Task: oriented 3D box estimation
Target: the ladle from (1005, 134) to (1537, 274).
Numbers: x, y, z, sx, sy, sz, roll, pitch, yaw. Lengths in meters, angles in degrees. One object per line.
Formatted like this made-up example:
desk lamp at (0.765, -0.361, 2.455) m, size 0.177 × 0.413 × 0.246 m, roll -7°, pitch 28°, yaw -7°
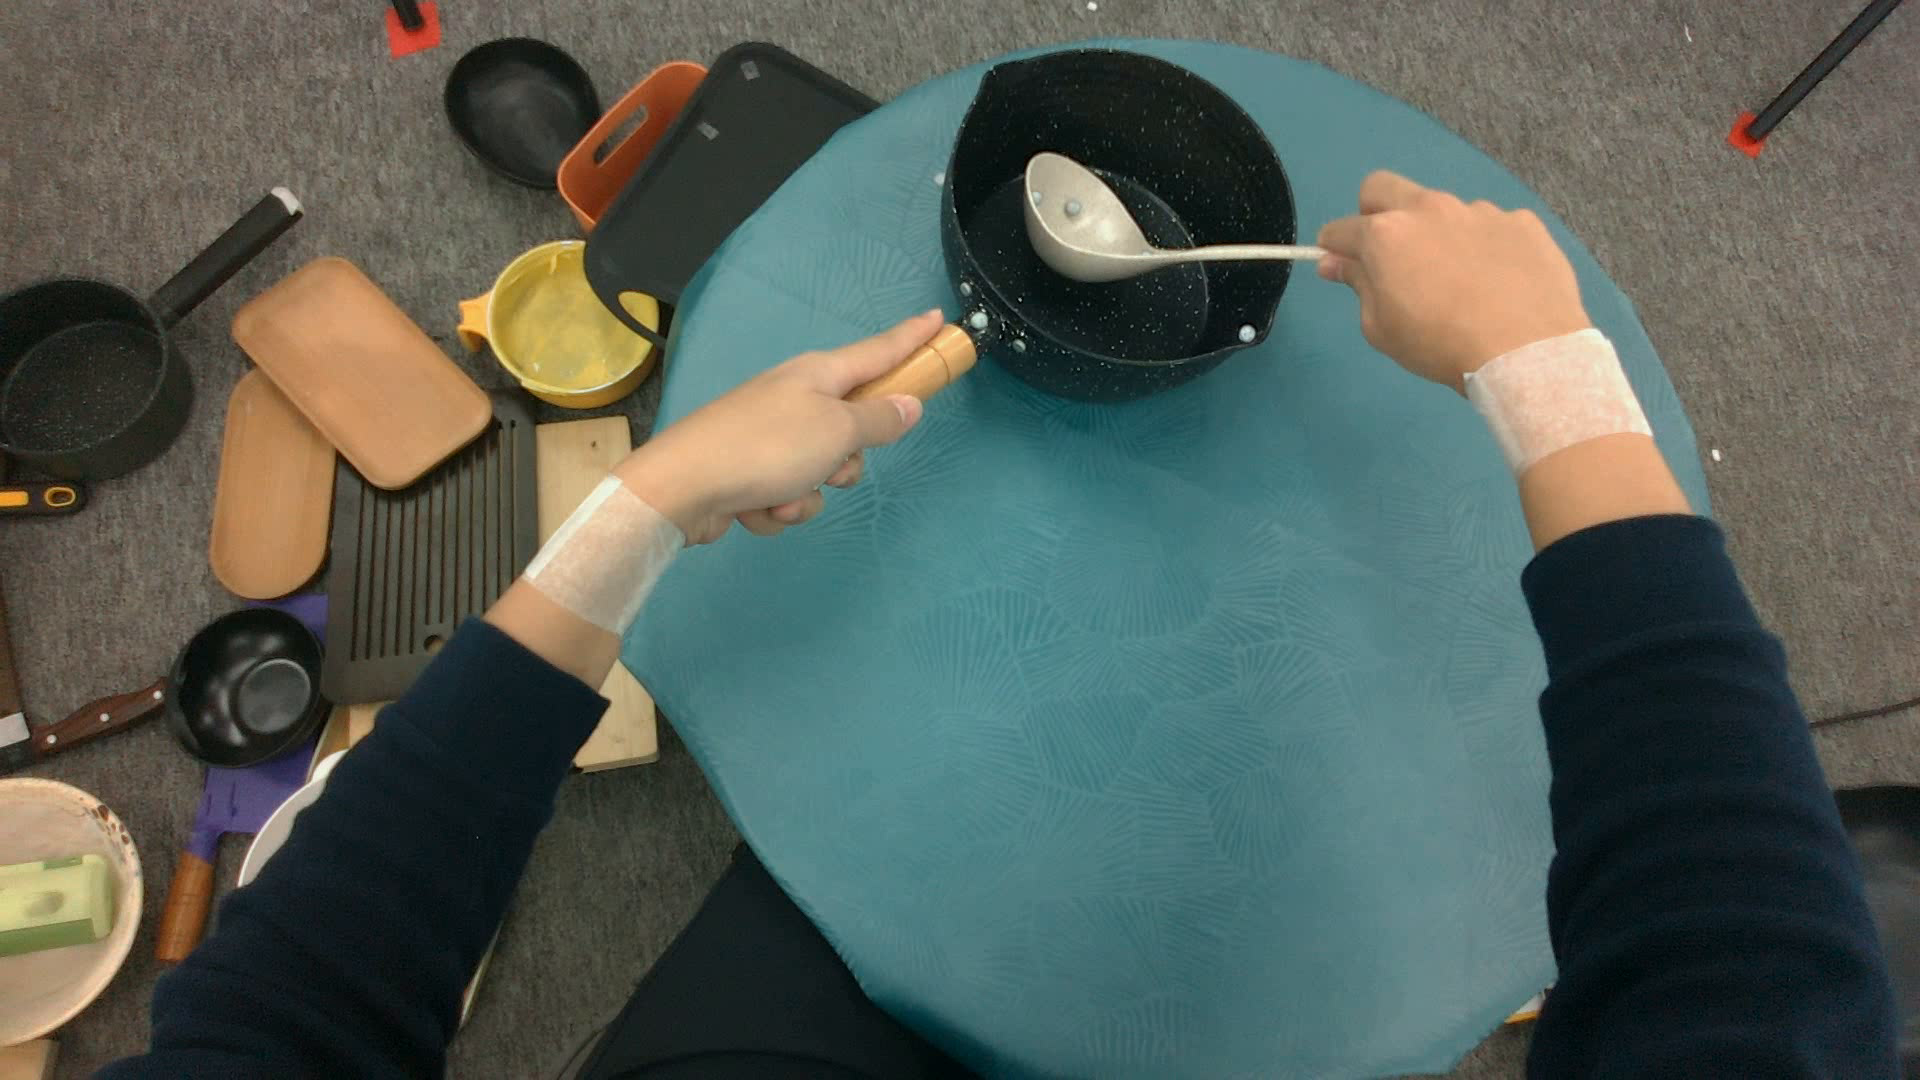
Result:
ladle at (0.147, -0.172, 0.690) m, size 0.274 × 0.090 × 0.069 m, roll 9°, pitch 107°, yaw 33°

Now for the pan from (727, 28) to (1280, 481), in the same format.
pan at (0.016, -0.122, 0.698) m, size 0.207 × 0.108 × 0.344 m, roll 45°, pitch 67°, yaw 4°
